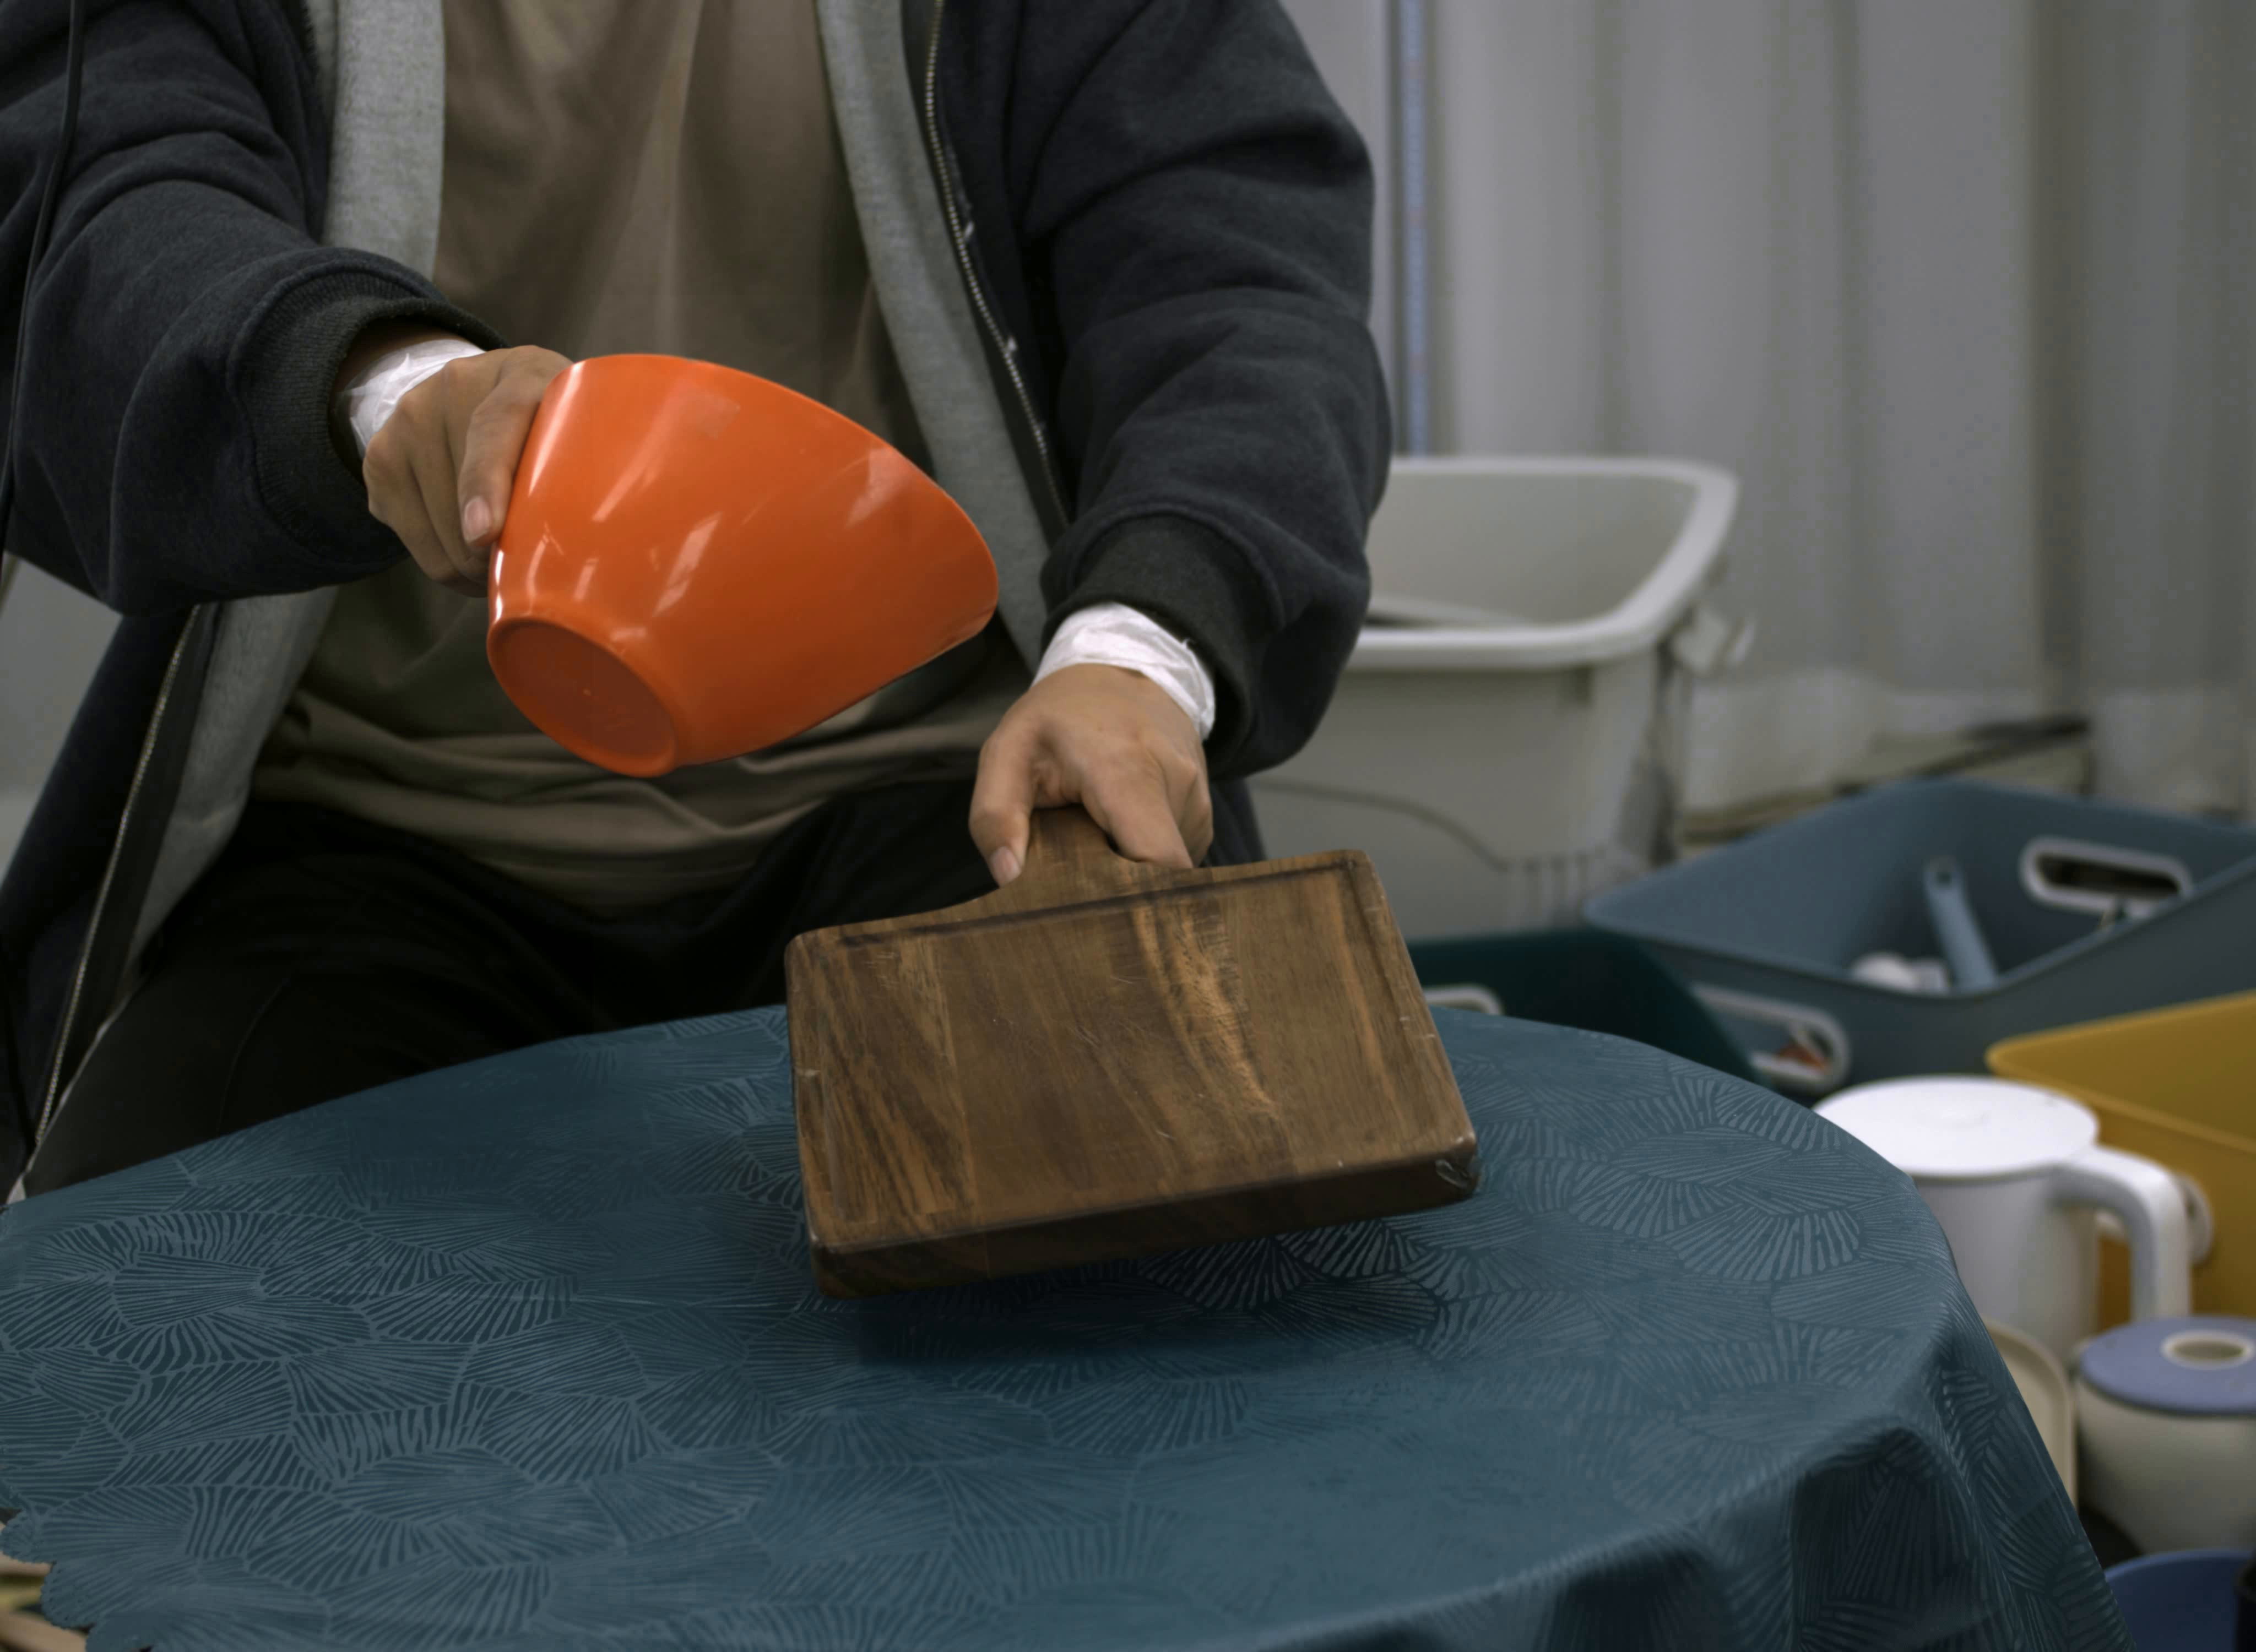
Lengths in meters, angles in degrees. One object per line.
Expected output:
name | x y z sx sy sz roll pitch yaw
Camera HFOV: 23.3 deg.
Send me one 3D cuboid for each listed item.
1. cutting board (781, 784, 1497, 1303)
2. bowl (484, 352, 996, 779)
cutting board | -0.008 0.055 1.727 0.200 0.023 0.355 -9 20 -2
bowl | -0.126 -0.066 1.619 0.148 0.146 0.105 9 52 37
